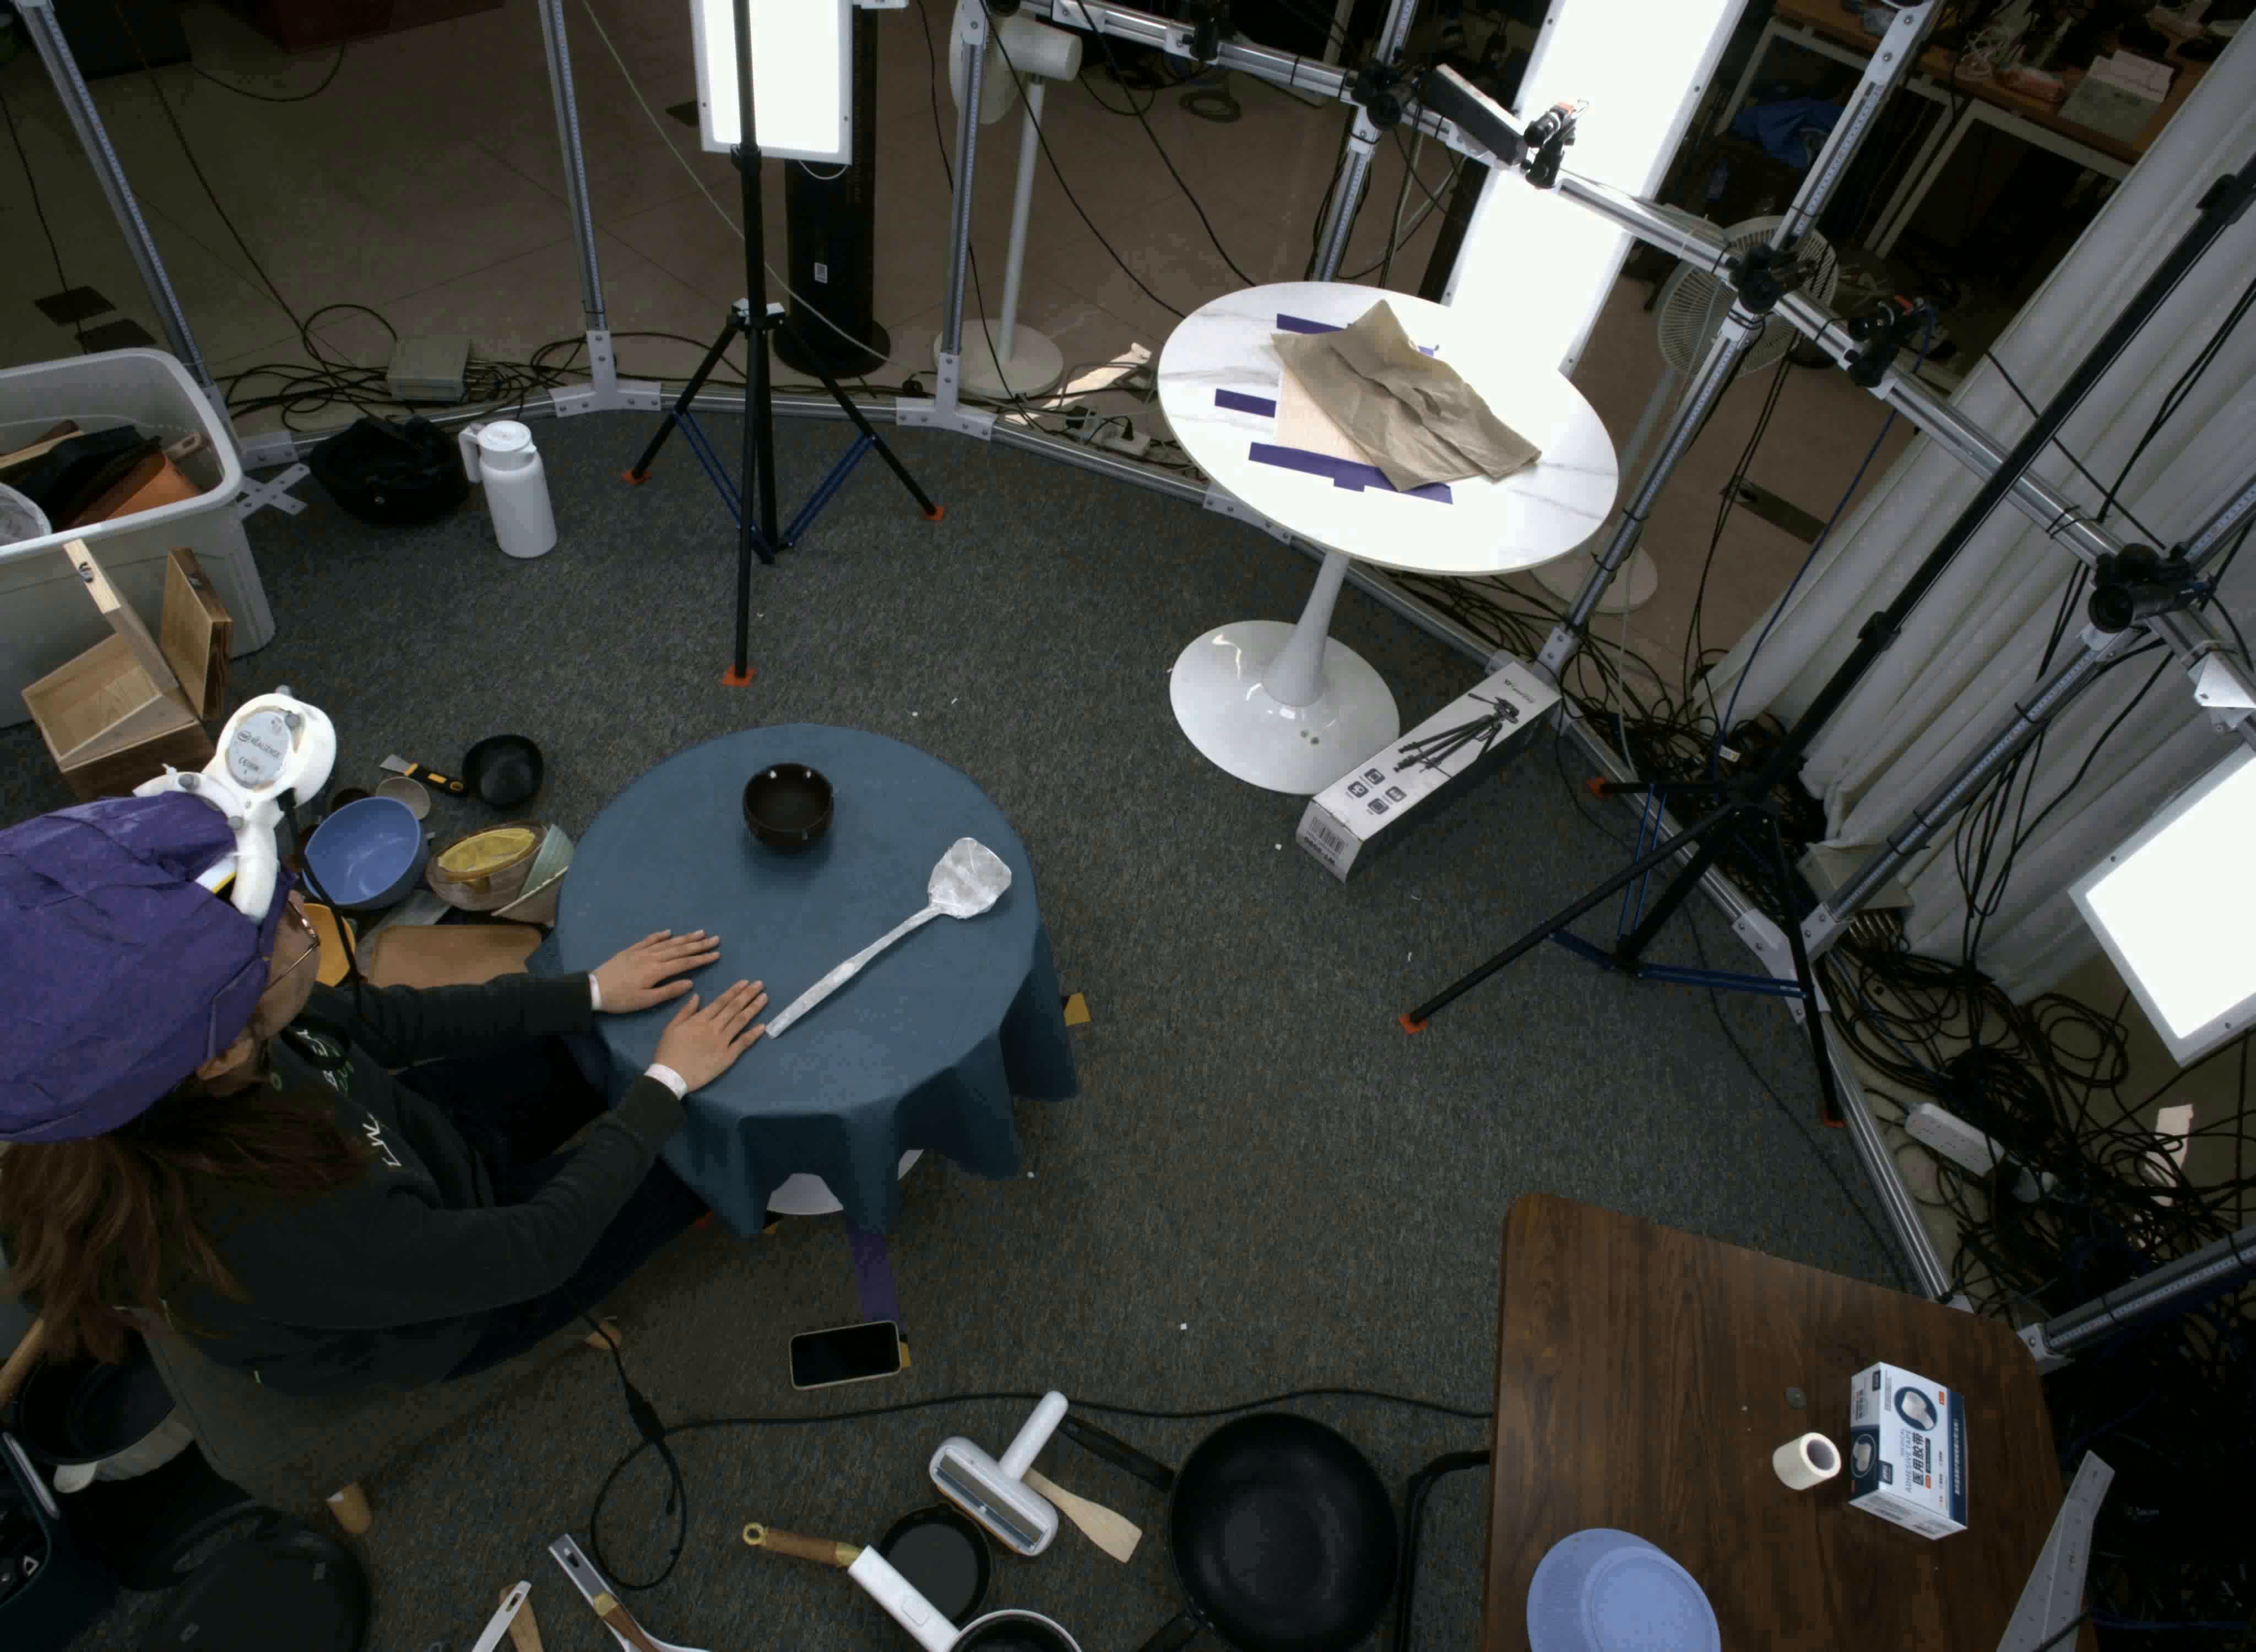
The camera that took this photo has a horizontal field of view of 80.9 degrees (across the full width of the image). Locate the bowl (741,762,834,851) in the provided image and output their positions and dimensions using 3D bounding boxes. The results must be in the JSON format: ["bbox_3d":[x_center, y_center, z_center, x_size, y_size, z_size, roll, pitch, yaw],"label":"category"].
[{"bbox_3d":[-0.443,-0.019,1.692,0.117,0.071,0.116,6,52,-6],"label":"bowl"}]

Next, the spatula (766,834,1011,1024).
[{"bbox_3d":[-0.302,0.134,1.635,0.097,0.045,0.365,42,55,16],"label":"spatula"}]
